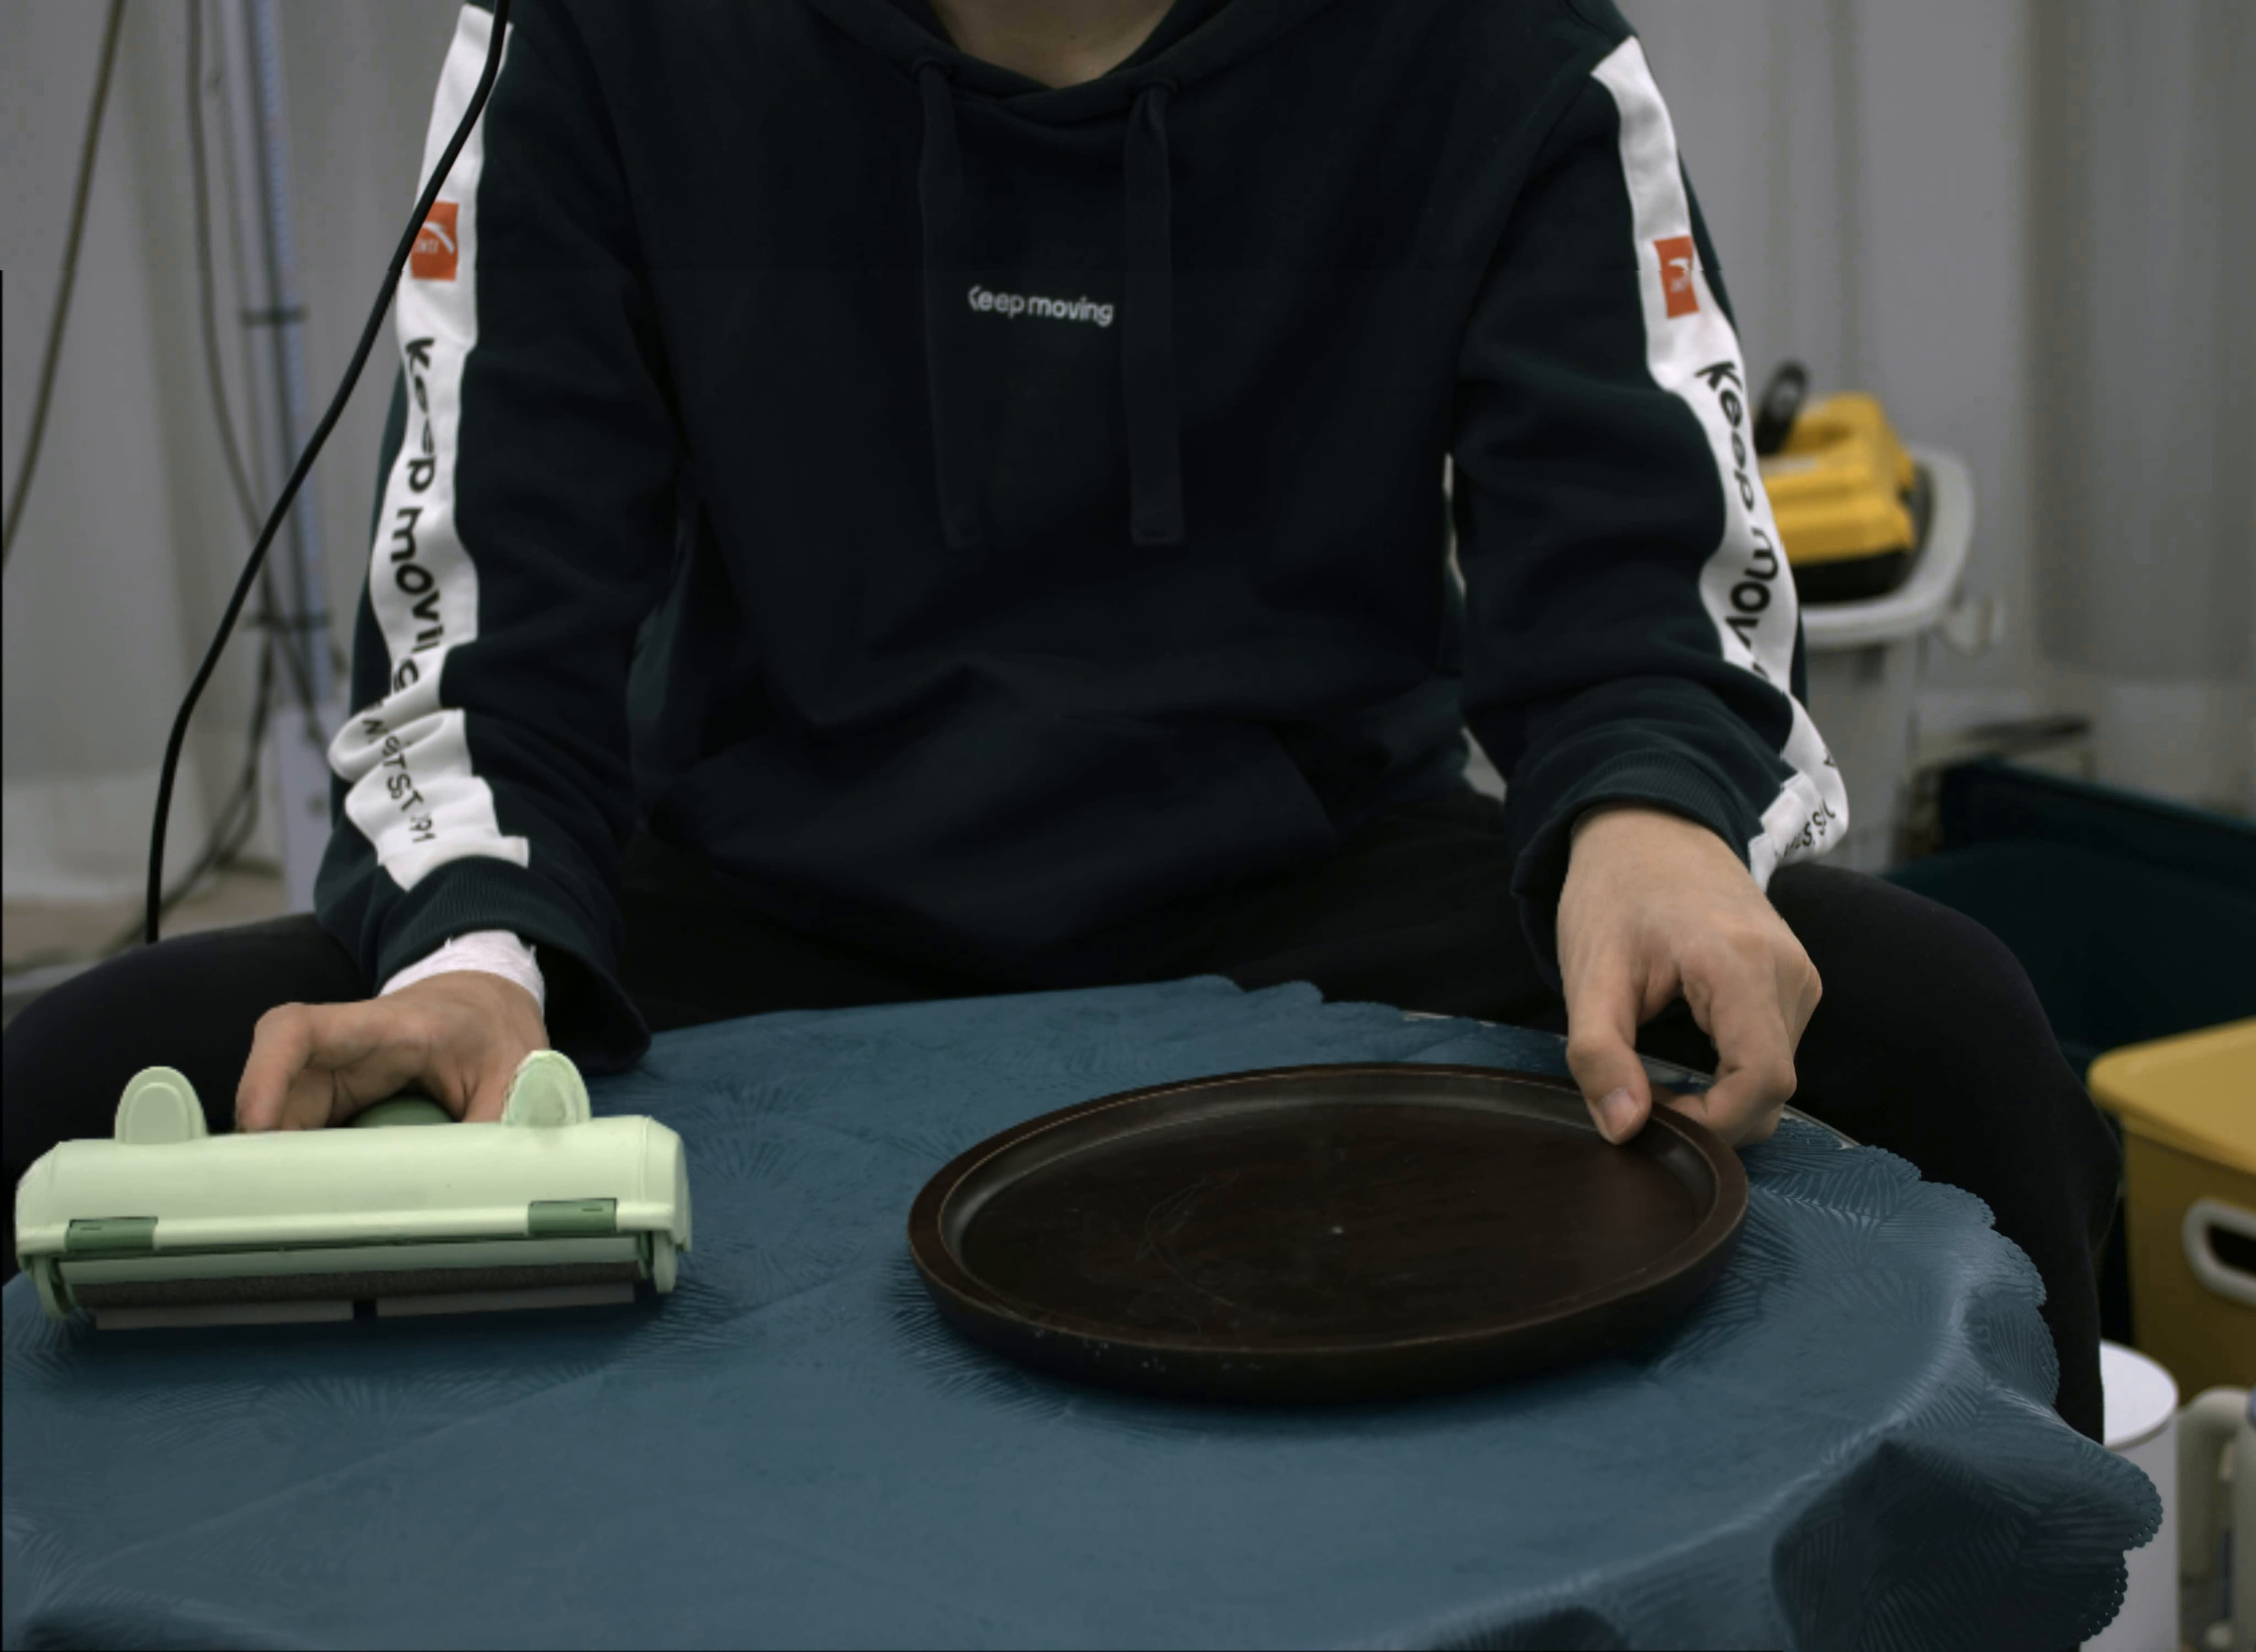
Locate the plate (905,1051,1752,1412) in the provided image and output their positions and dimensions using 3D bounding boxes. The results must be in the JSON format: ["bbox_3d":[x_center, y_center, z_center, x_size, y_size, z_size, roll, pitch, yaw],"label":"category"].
[{"bbox_3d":[0.060,0.121,1.630,0.254,0.029,0.256,-4,16,1],"label":"plate"}]

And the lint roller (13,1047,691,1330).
[{"bbox_3d":[-0.231,0.094,1.684,0.198,0.082,0.185,-3,18,1],"label":"lint roller"}]
